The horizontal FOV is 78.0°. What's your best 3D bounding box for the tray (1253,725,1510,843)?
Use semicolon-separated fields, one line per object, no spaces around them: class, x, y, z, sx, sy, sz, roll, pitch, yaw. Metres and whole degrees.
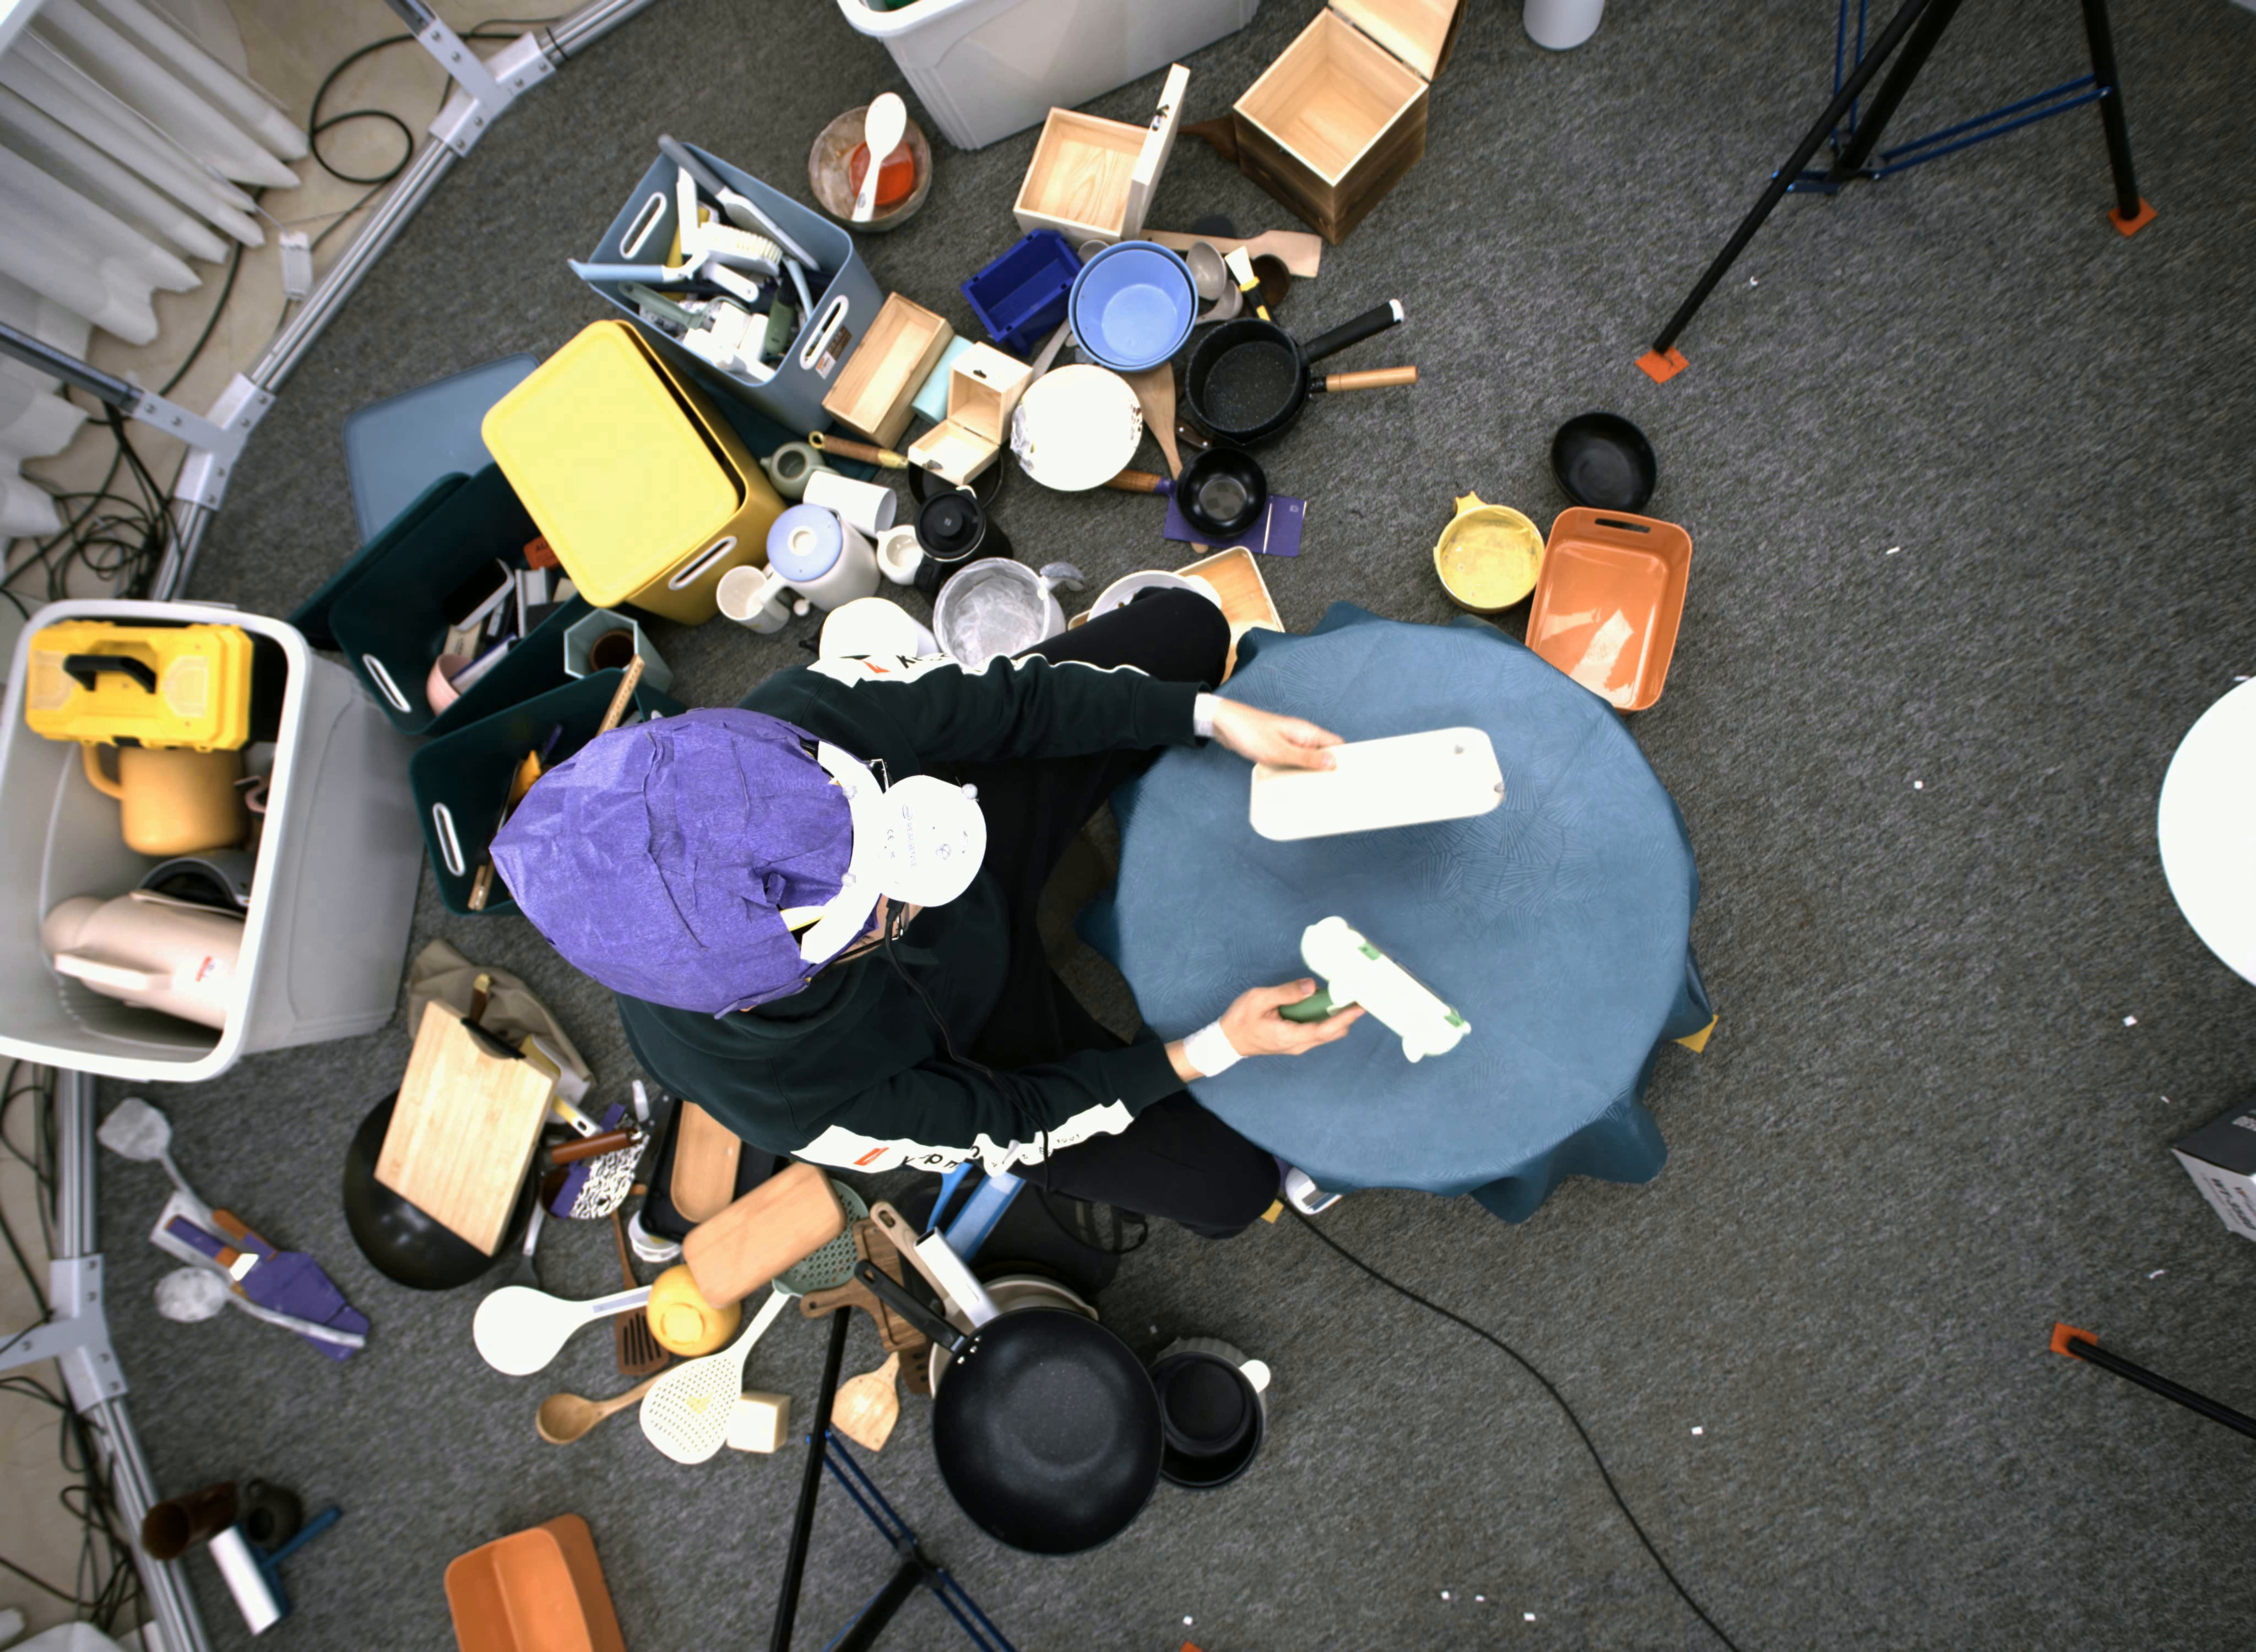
tray;0.242;-0.042;1.341;0.241;0.167;0.018;-9;120;10

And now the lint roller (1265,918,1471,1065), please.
lint roller;0.205;0.182;1.346;0.186;0.200;0.080;-29;37;34
